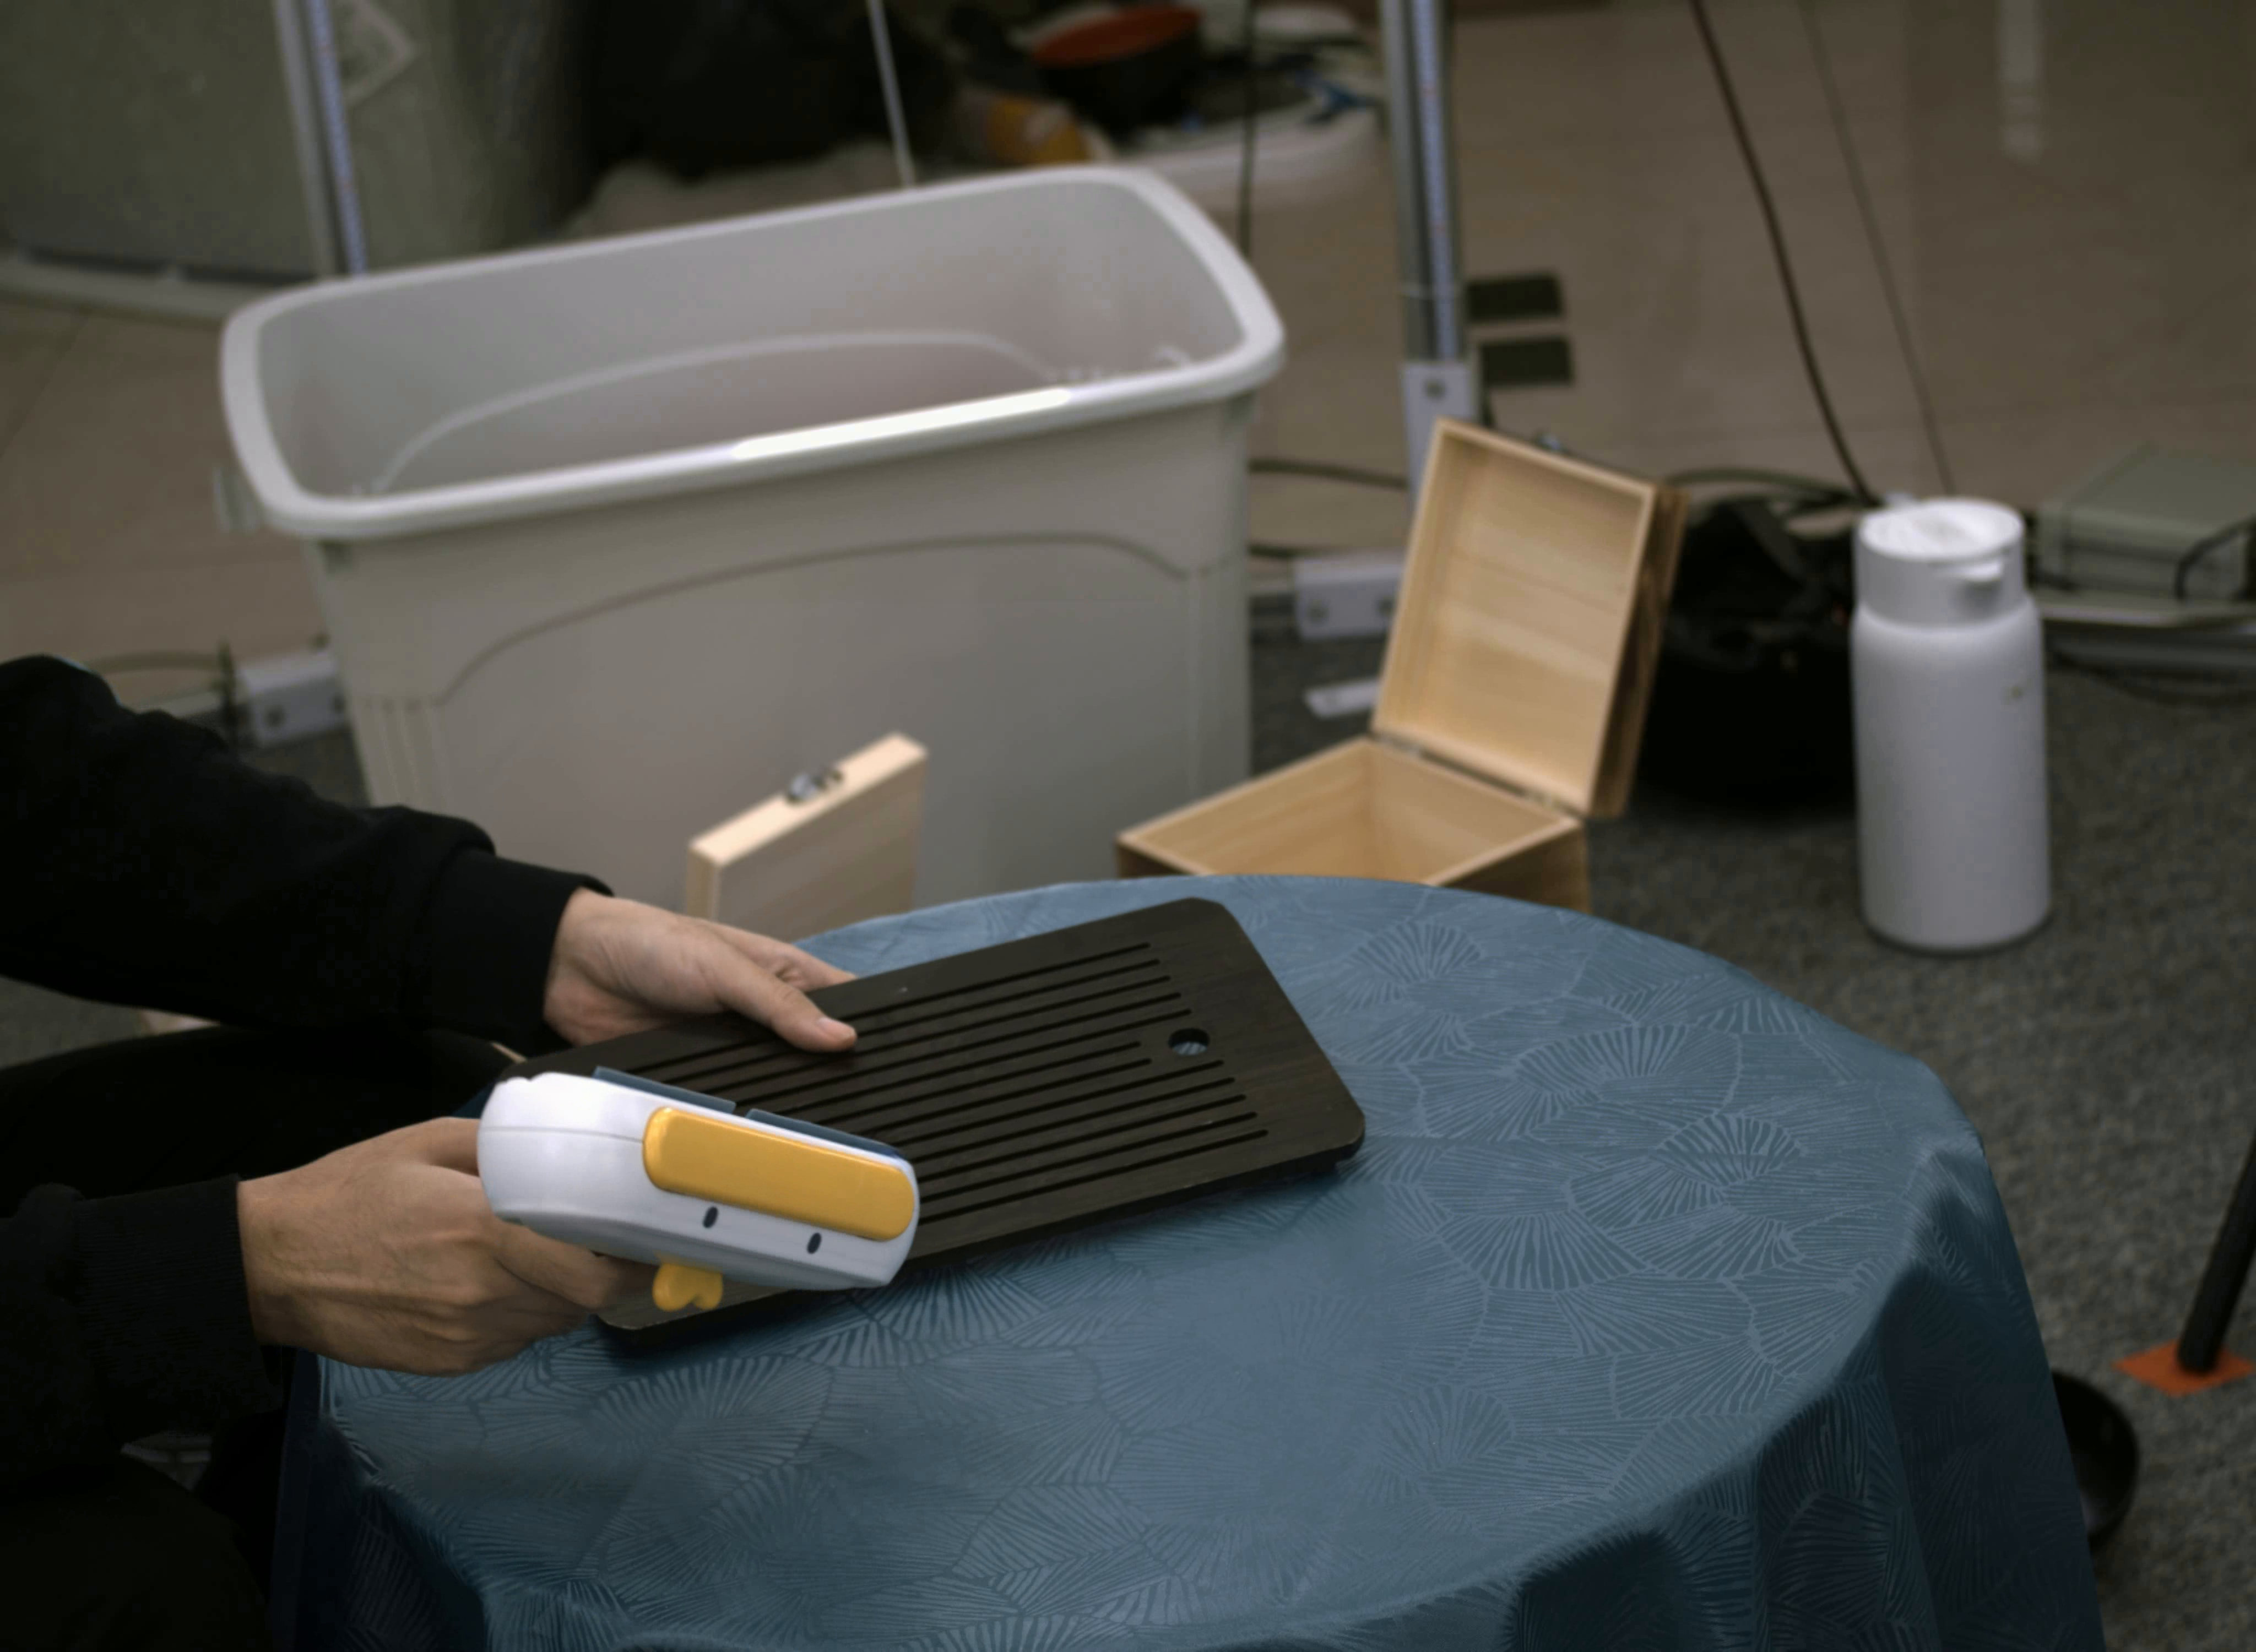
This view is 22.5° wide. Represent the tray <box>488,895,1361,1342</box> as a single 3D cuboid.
[{"bbox_3d":[-0.079,0.111,2.164,0.305,0.019,0.167,-14,38,-15],"label":"tray"}]

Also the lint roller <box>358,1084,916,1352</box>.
[{"bbox_3d":[-0.193,0.140,1.962,0.193,0.074,0.193,-13,-13,36],"label":"lint roller"}]
